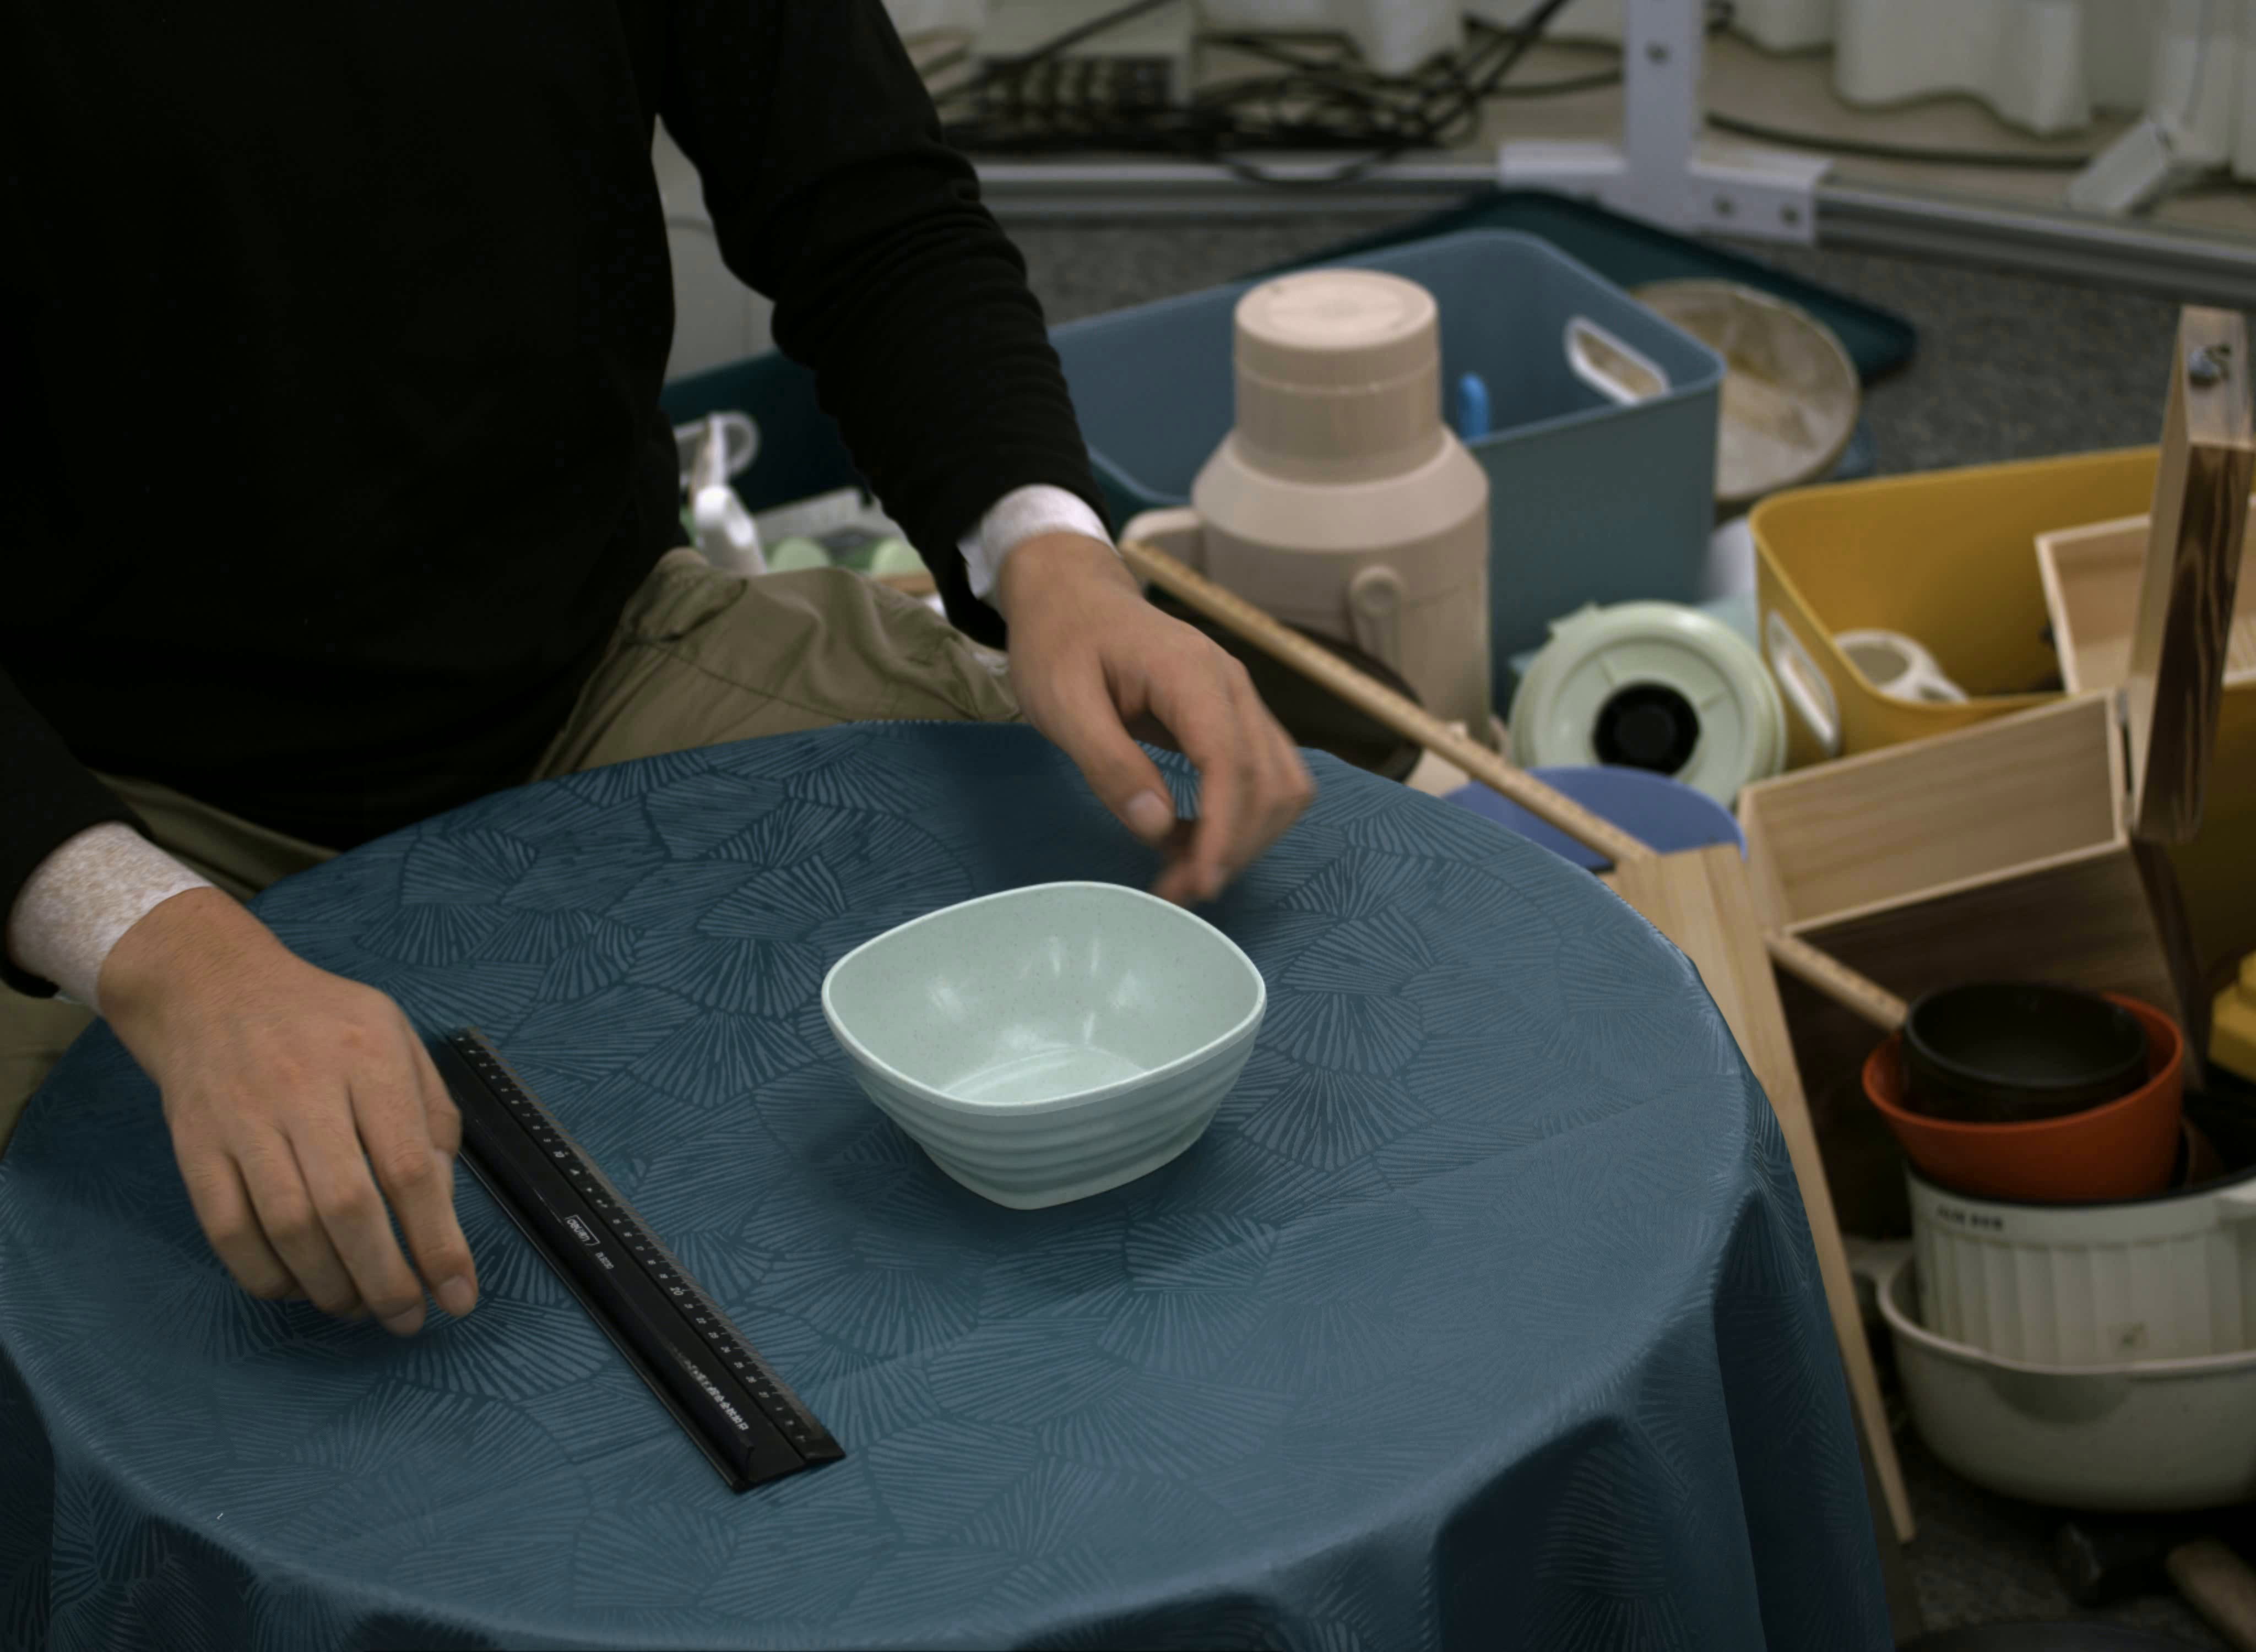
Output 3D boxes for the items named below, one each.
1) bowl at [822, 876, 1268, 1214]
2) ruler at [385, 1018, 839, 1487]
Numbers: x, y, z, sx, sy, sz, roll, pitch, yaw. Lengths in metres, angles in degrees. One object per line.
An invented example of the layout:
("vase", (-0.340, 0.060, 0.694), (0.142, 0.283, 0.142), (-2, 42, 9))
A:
("bowl", (-0.027, 0.080, 1.885), (0.151, 0.058, 0.154), (-2, 29, 1))
("ruler", (-0.174, 0.132, 1.842), (0.039, 0.017, 0.314), (-11, 28, -24))
